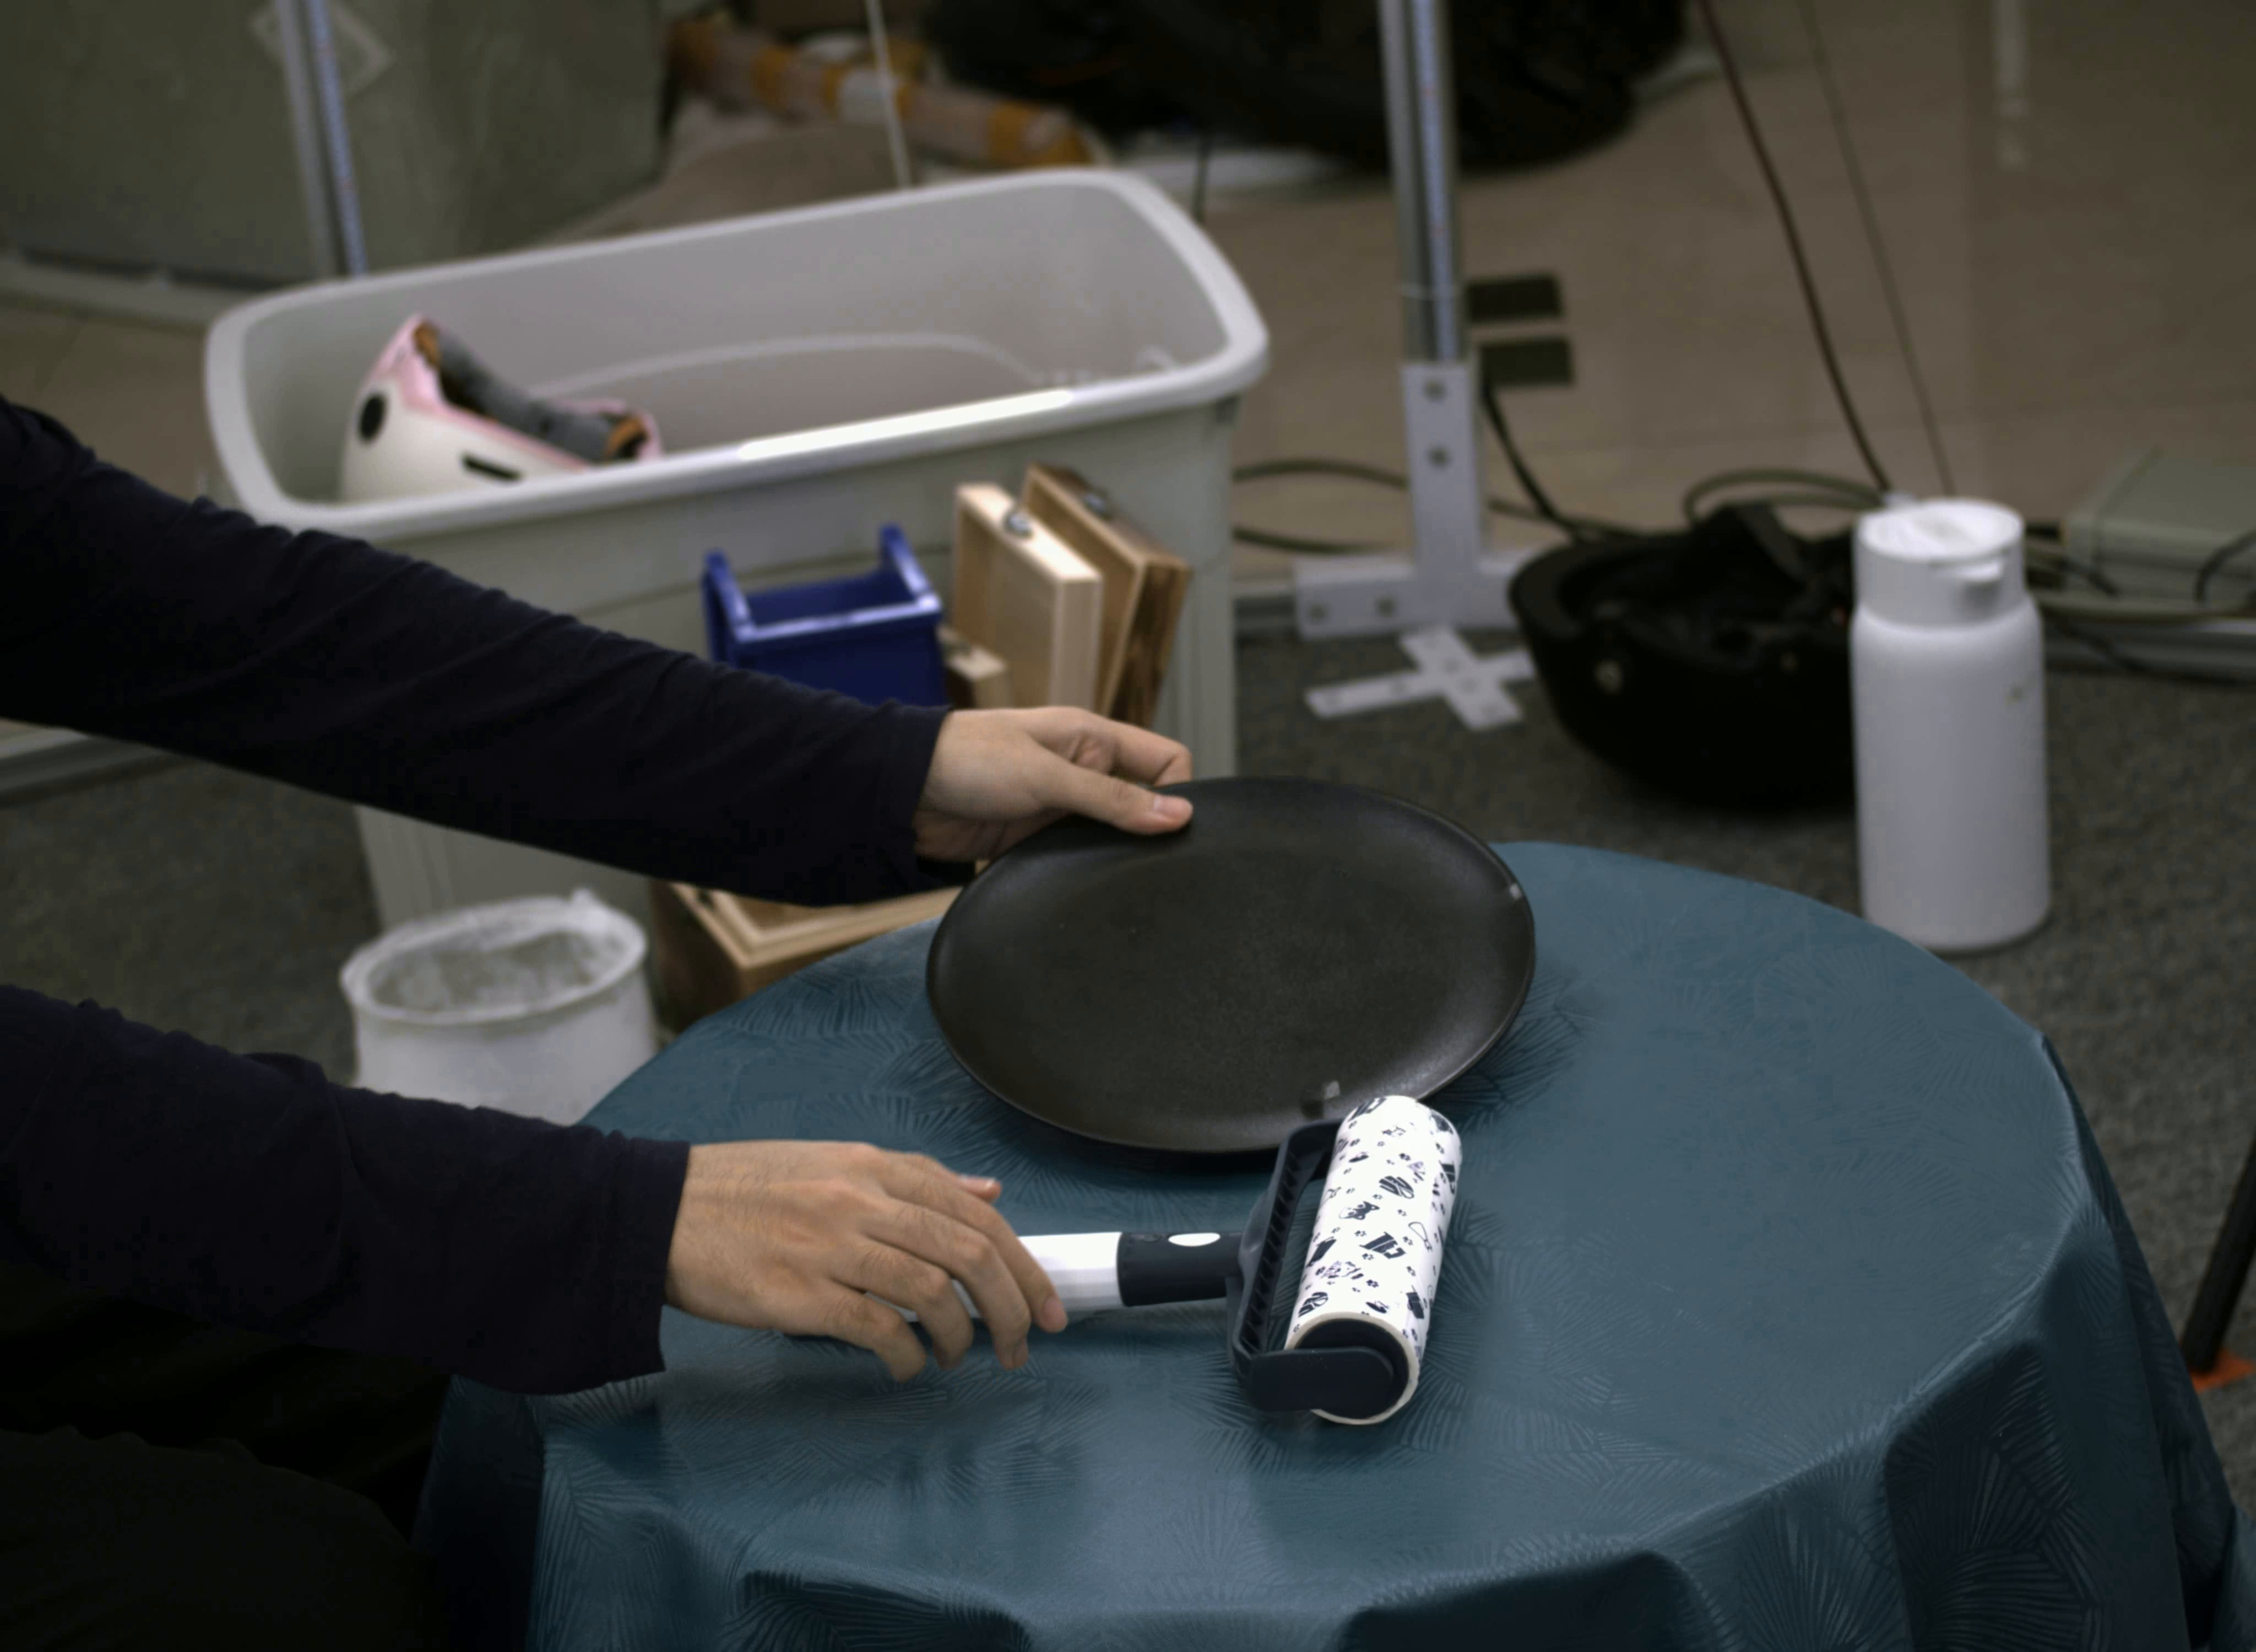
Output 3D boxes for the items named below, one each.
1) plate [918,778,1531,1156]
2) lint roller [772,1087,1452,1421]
[{"bbox_3d":[0.038,0.060,2.245,0.244,0.024,0.240,-4,37,3],"label":"plate"},{"bbox_3d":[-0.011,0.162,2.057,0.247,0.051,0.173,-5,26,11],"label":"lint roller"}]
